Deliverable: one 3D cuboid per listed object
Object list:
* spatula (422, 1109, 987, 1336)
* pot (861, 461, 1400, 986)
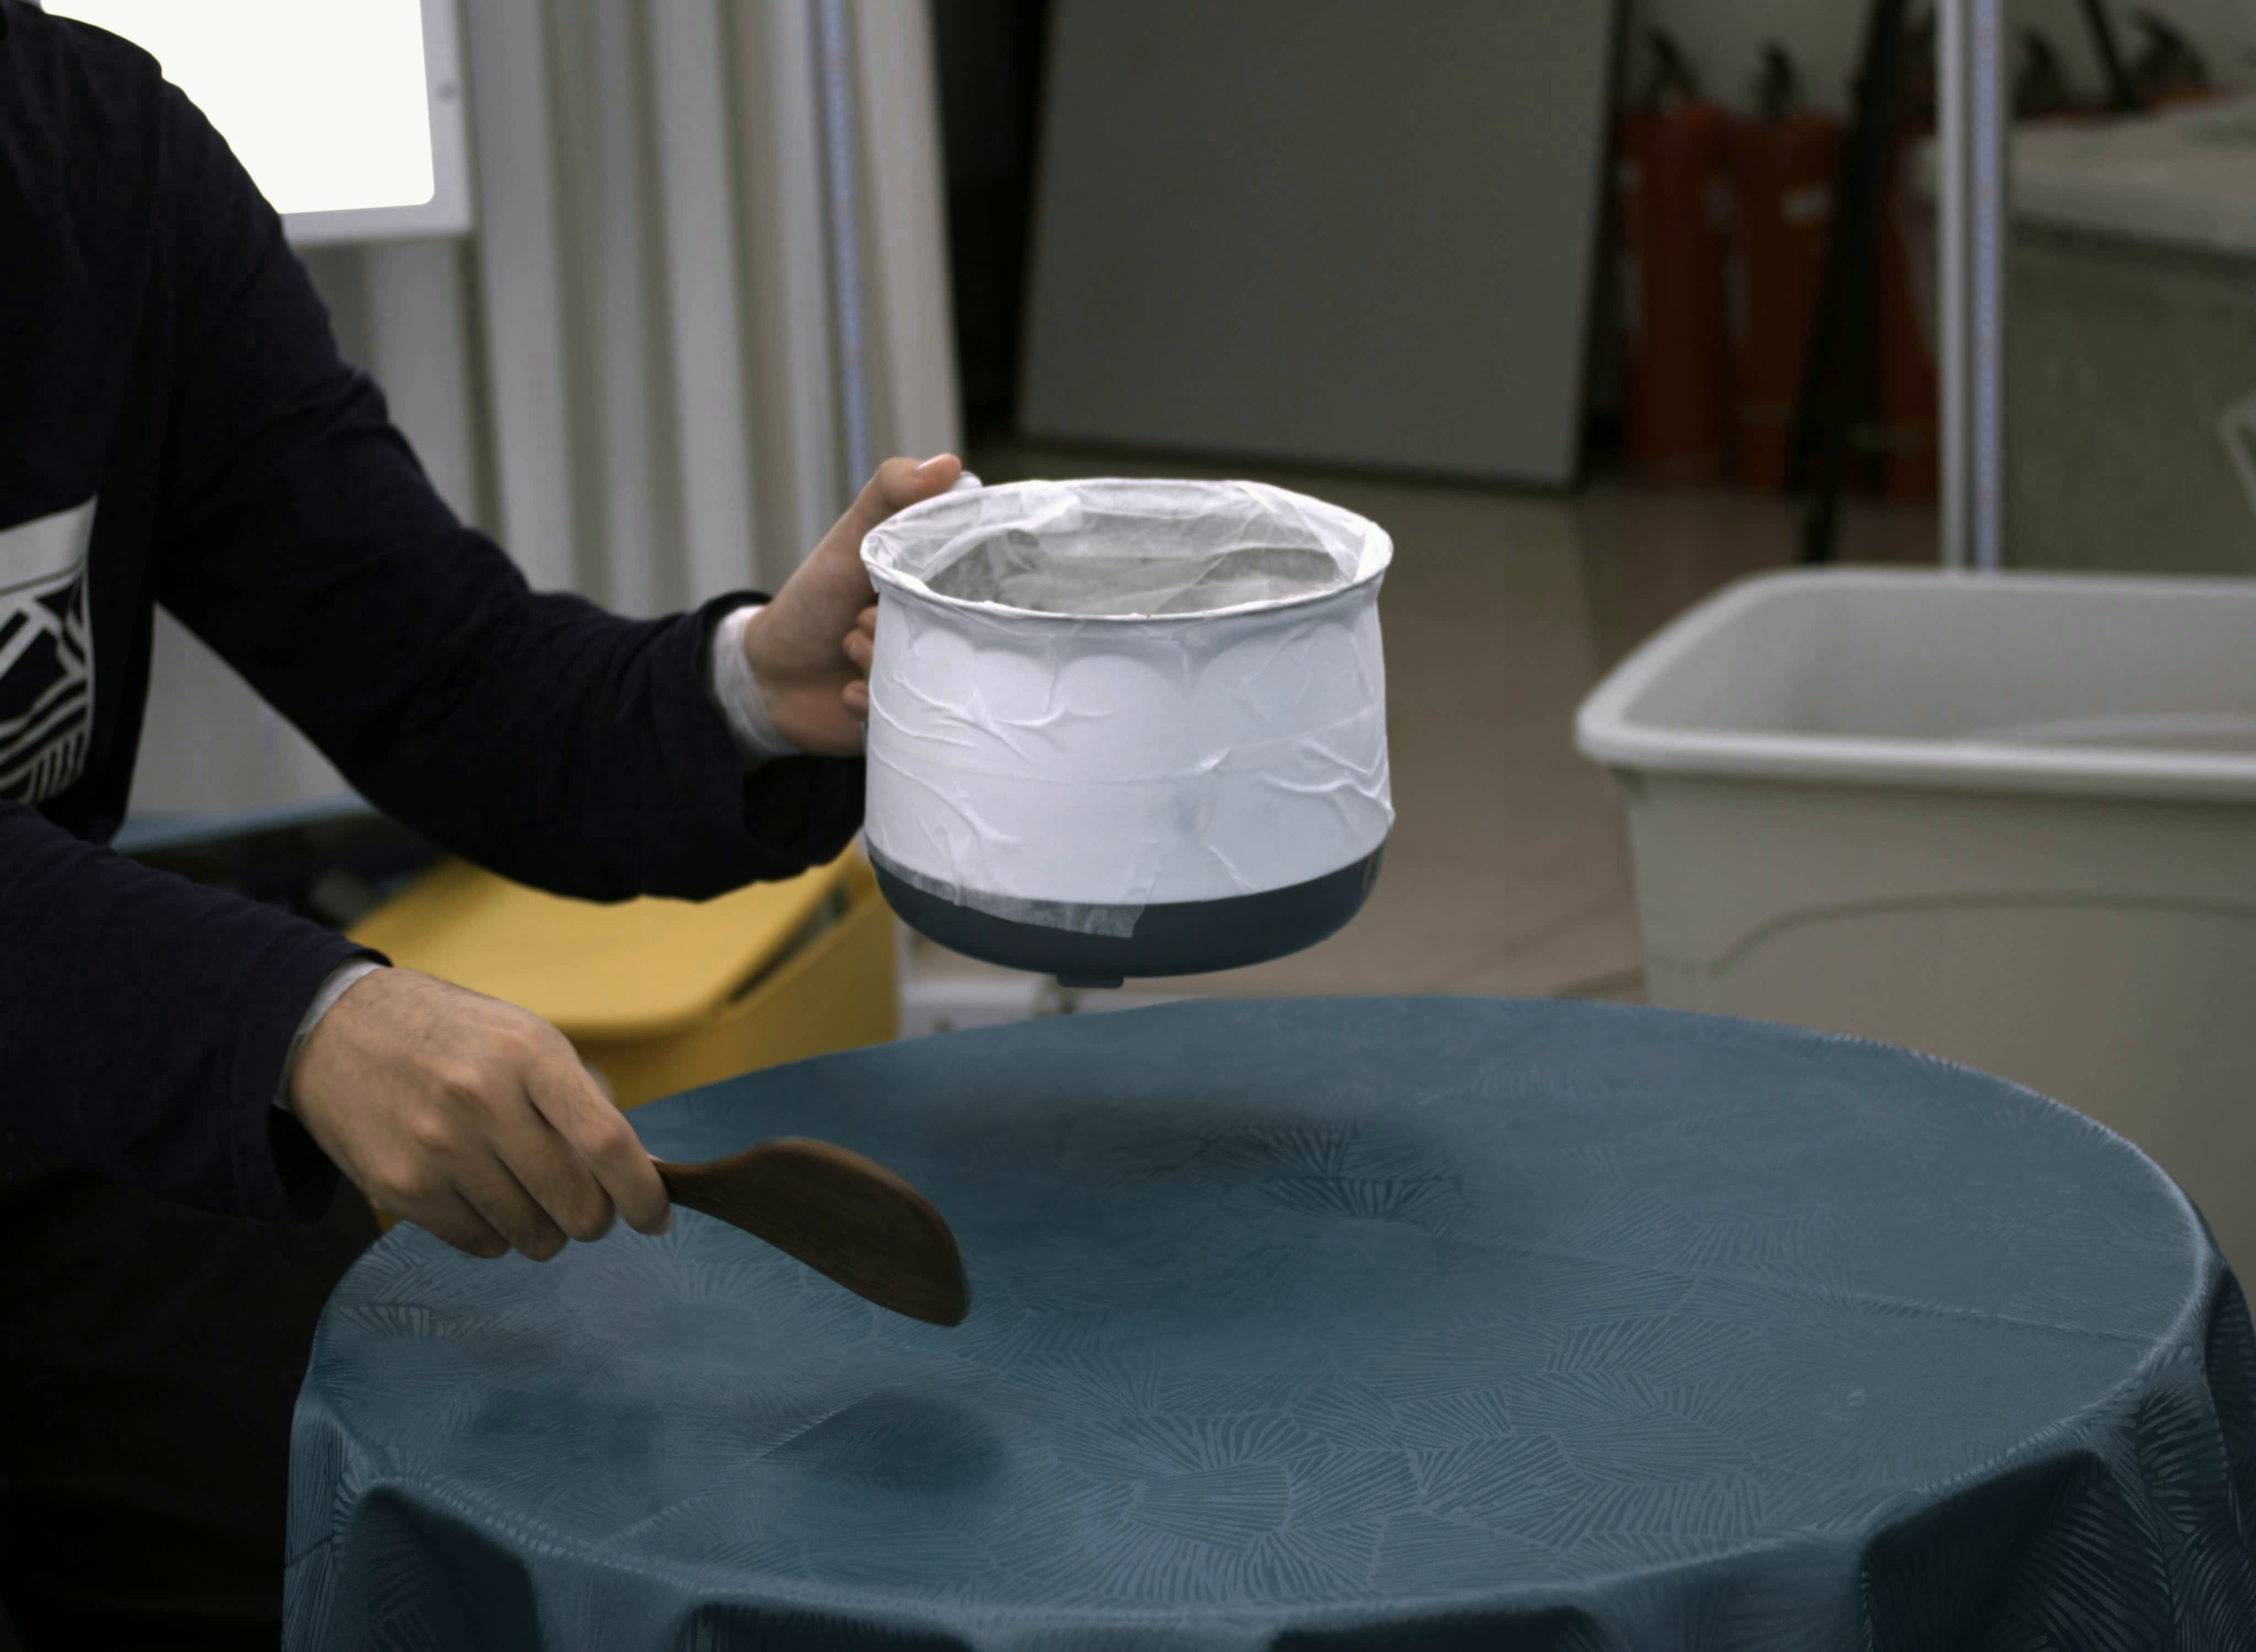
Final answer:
[{"bbox_3d":[-0.129,0.114,1.620,0.217,0.072,0.009,11,49,34],"label":"spatula"},{"bbox_3d":[-0.017,-0.041,1.815,0.174,0.138,0.236,-10,20,-35],"label":"pot"}]
